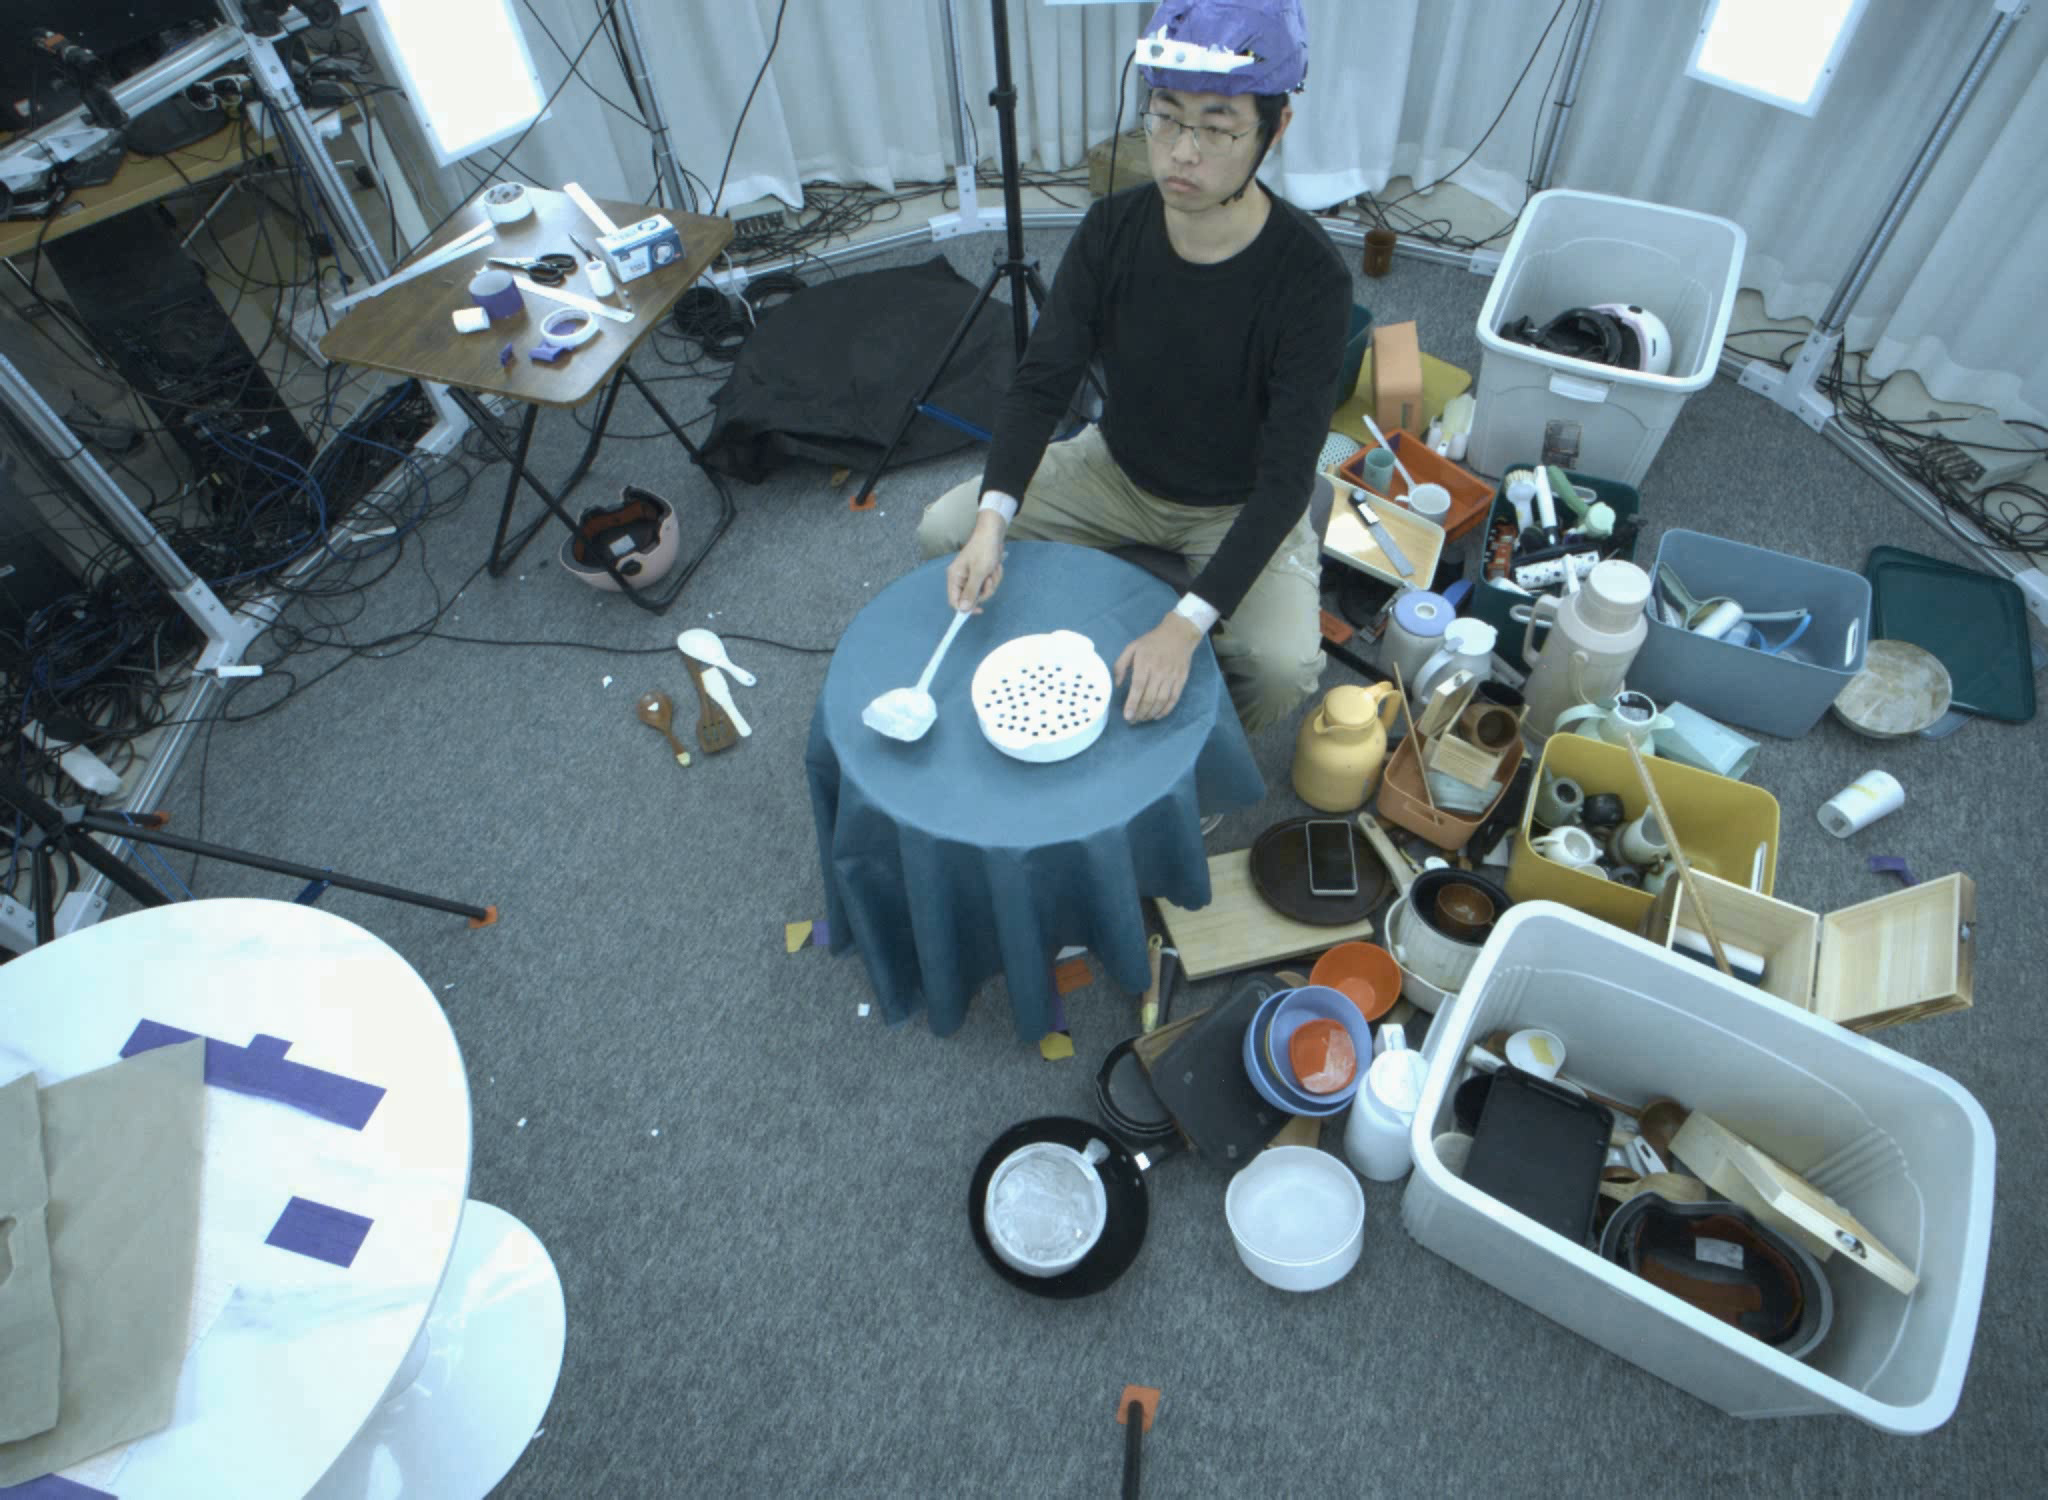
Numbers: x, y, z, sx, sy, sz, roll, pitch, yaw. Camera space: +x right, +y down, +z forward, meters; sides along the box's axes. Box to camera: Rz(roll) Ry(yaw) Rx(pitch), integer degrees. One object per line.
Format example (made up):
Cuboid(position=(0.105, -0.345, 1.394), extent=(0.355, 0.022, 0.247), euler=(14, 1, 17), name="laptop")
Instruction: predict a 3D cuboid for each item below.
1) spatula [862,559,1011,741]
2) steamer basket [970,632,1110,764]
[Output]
Cuboid(position=(-0.115, -0.163, 1.830), extent=(0.097, 0.045, 0.365), euler=(23, 69, 14), name="spatula")
Cuboid(position=(0.023, -0.071, 1.795), extent=(0.199, 0.070, 0.231), euler=(23, 58, 16), name="steamer basket")
